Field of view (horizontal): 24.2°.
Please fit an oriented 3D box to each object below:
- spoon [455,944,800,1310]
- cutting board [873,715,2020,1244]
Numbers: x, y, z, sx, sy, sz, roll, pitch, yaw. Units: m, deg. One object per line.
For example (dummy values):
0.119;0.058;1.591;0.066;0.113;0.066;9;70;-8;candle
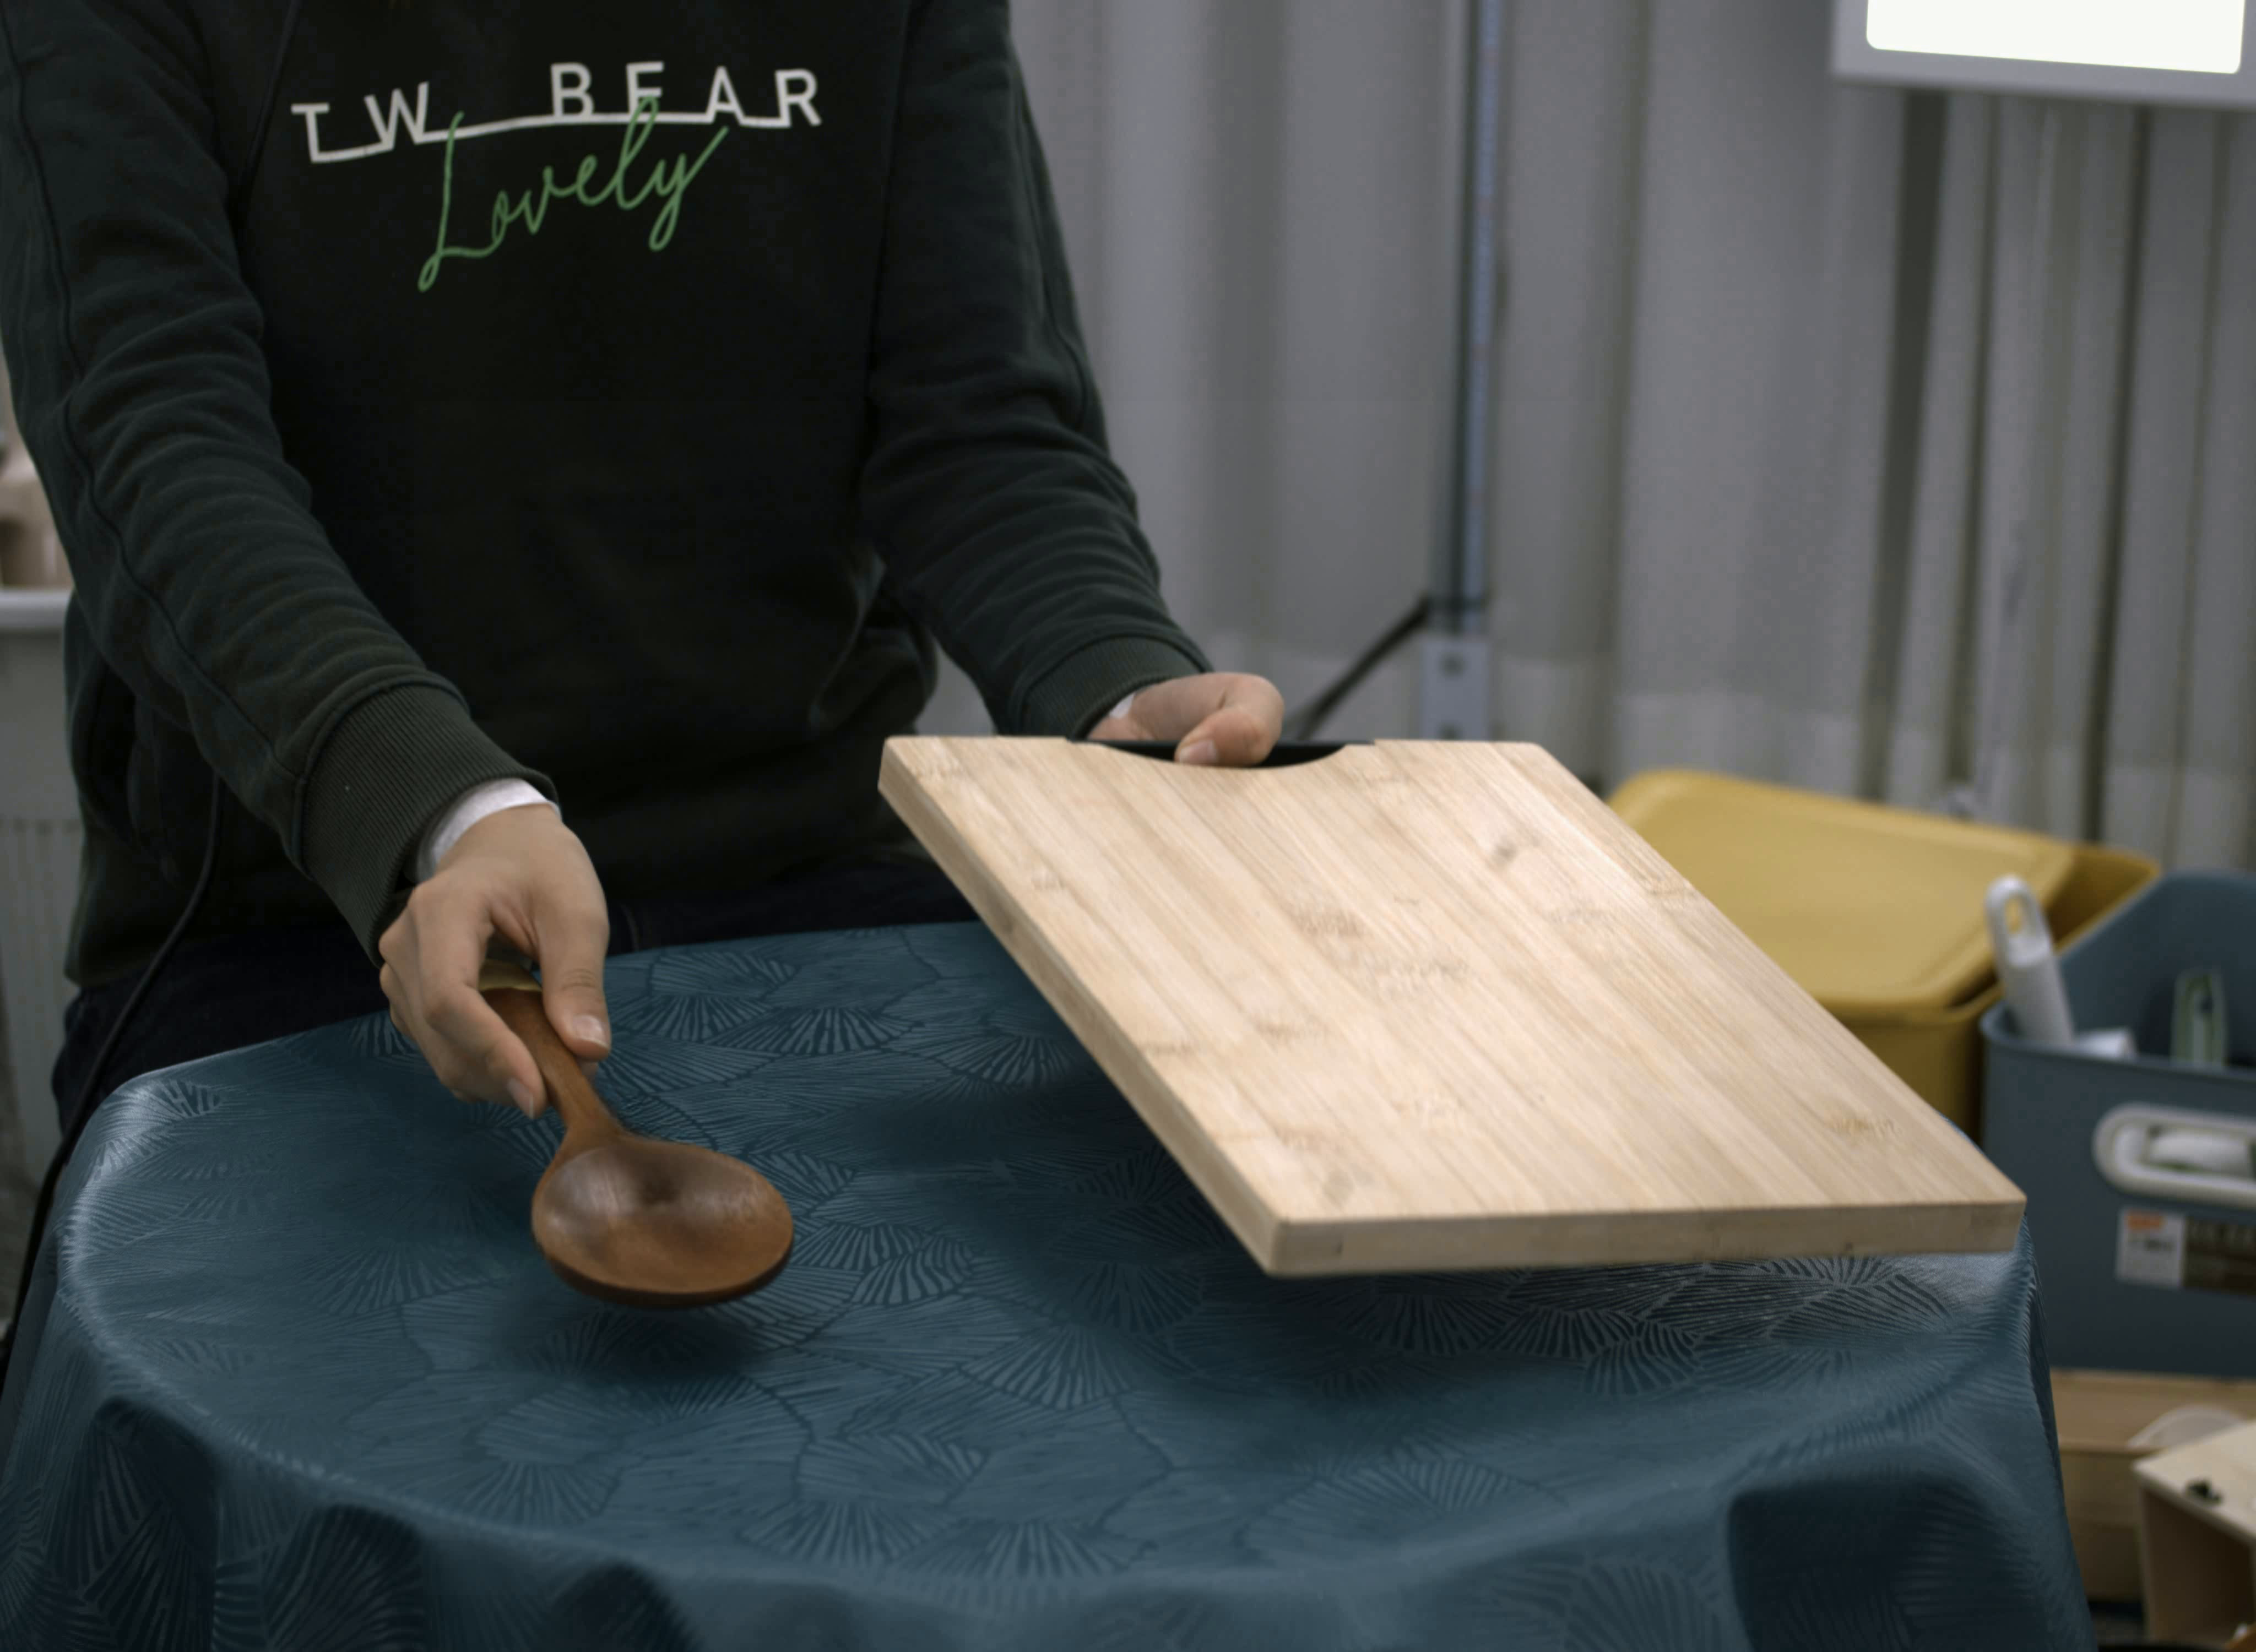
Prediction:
-0.157;0.088;1.549;0.075;0.017;0.213;-11;30;-21;spoon
0.087;0.043;1.625;0.252;0.024;0.344;1;24;-25;cutting board
